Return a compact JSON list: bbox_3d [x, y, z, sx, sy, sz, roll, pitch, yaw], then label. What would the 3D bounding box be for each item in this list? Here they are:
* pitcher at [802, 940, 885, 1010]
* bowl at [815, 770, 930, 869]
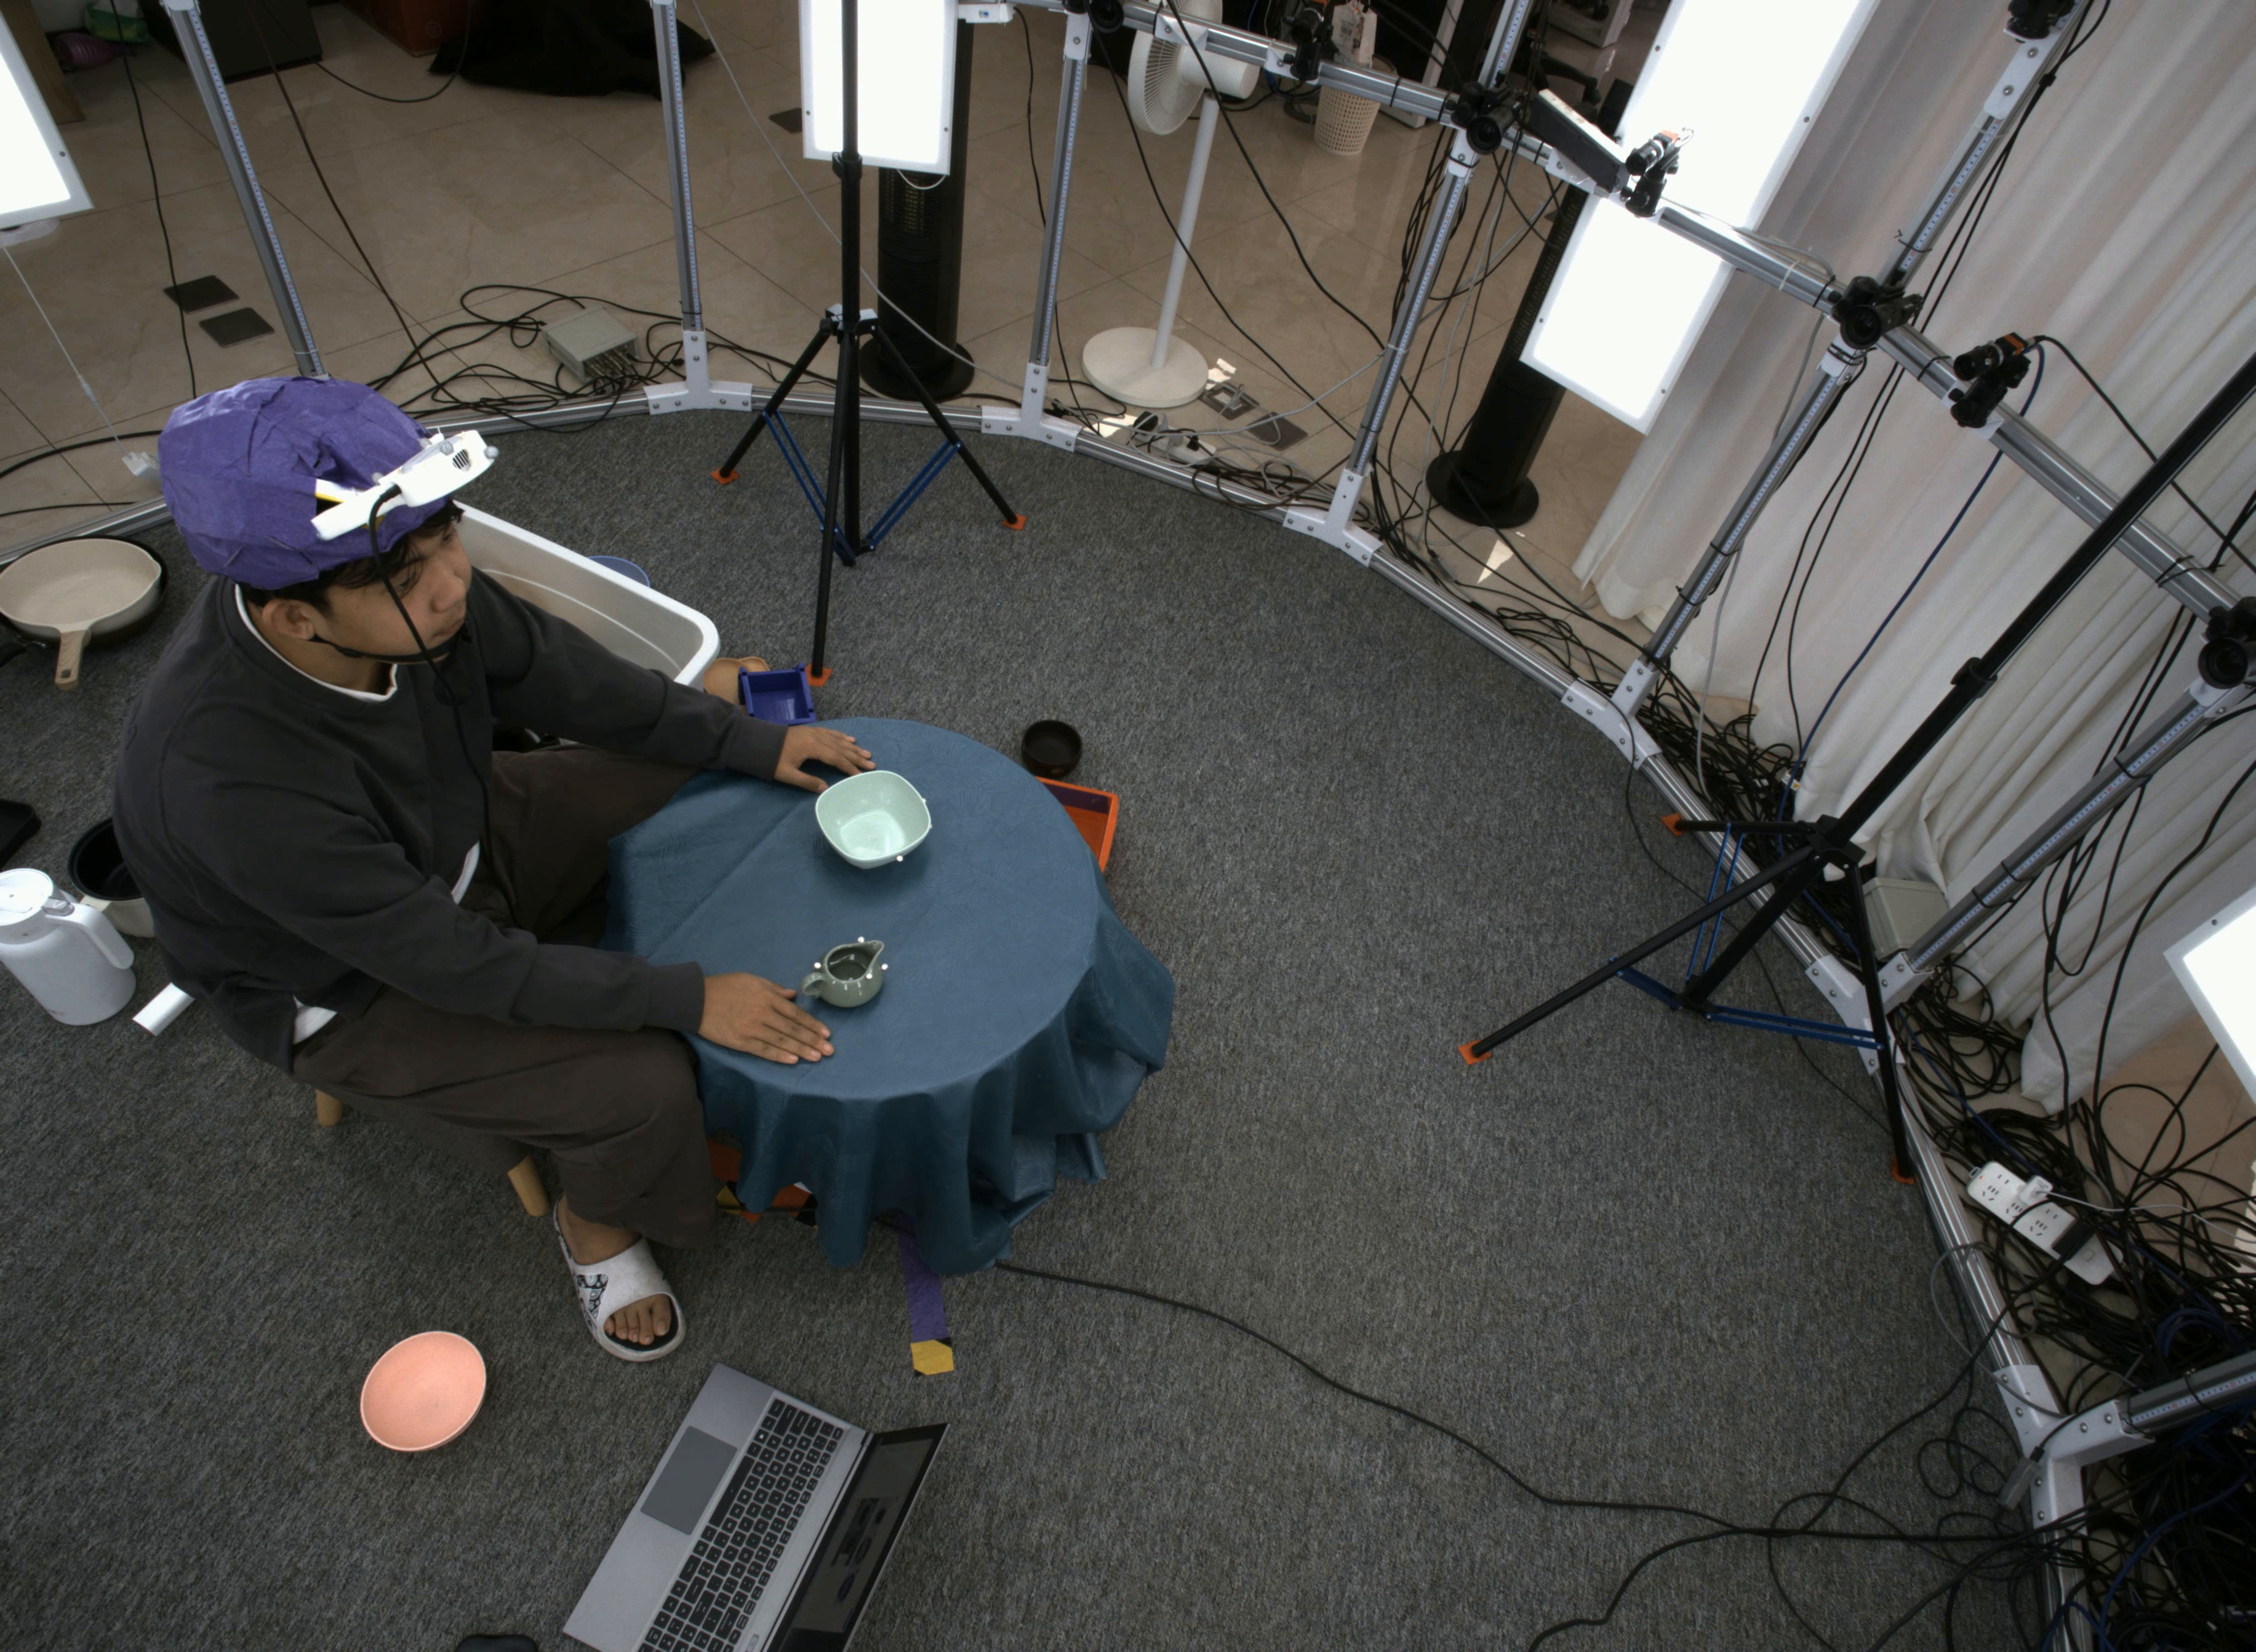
[{"bbox_3d":[-0.343,0.179,1.571,0.113,0.057,0.082,-29,64,-29],"label":"pitcher"},{"bbox_3d":[-0.336,0.001,1.706,0.151,0.060,0.149,8,52,-9],"label":"bowl"}]
